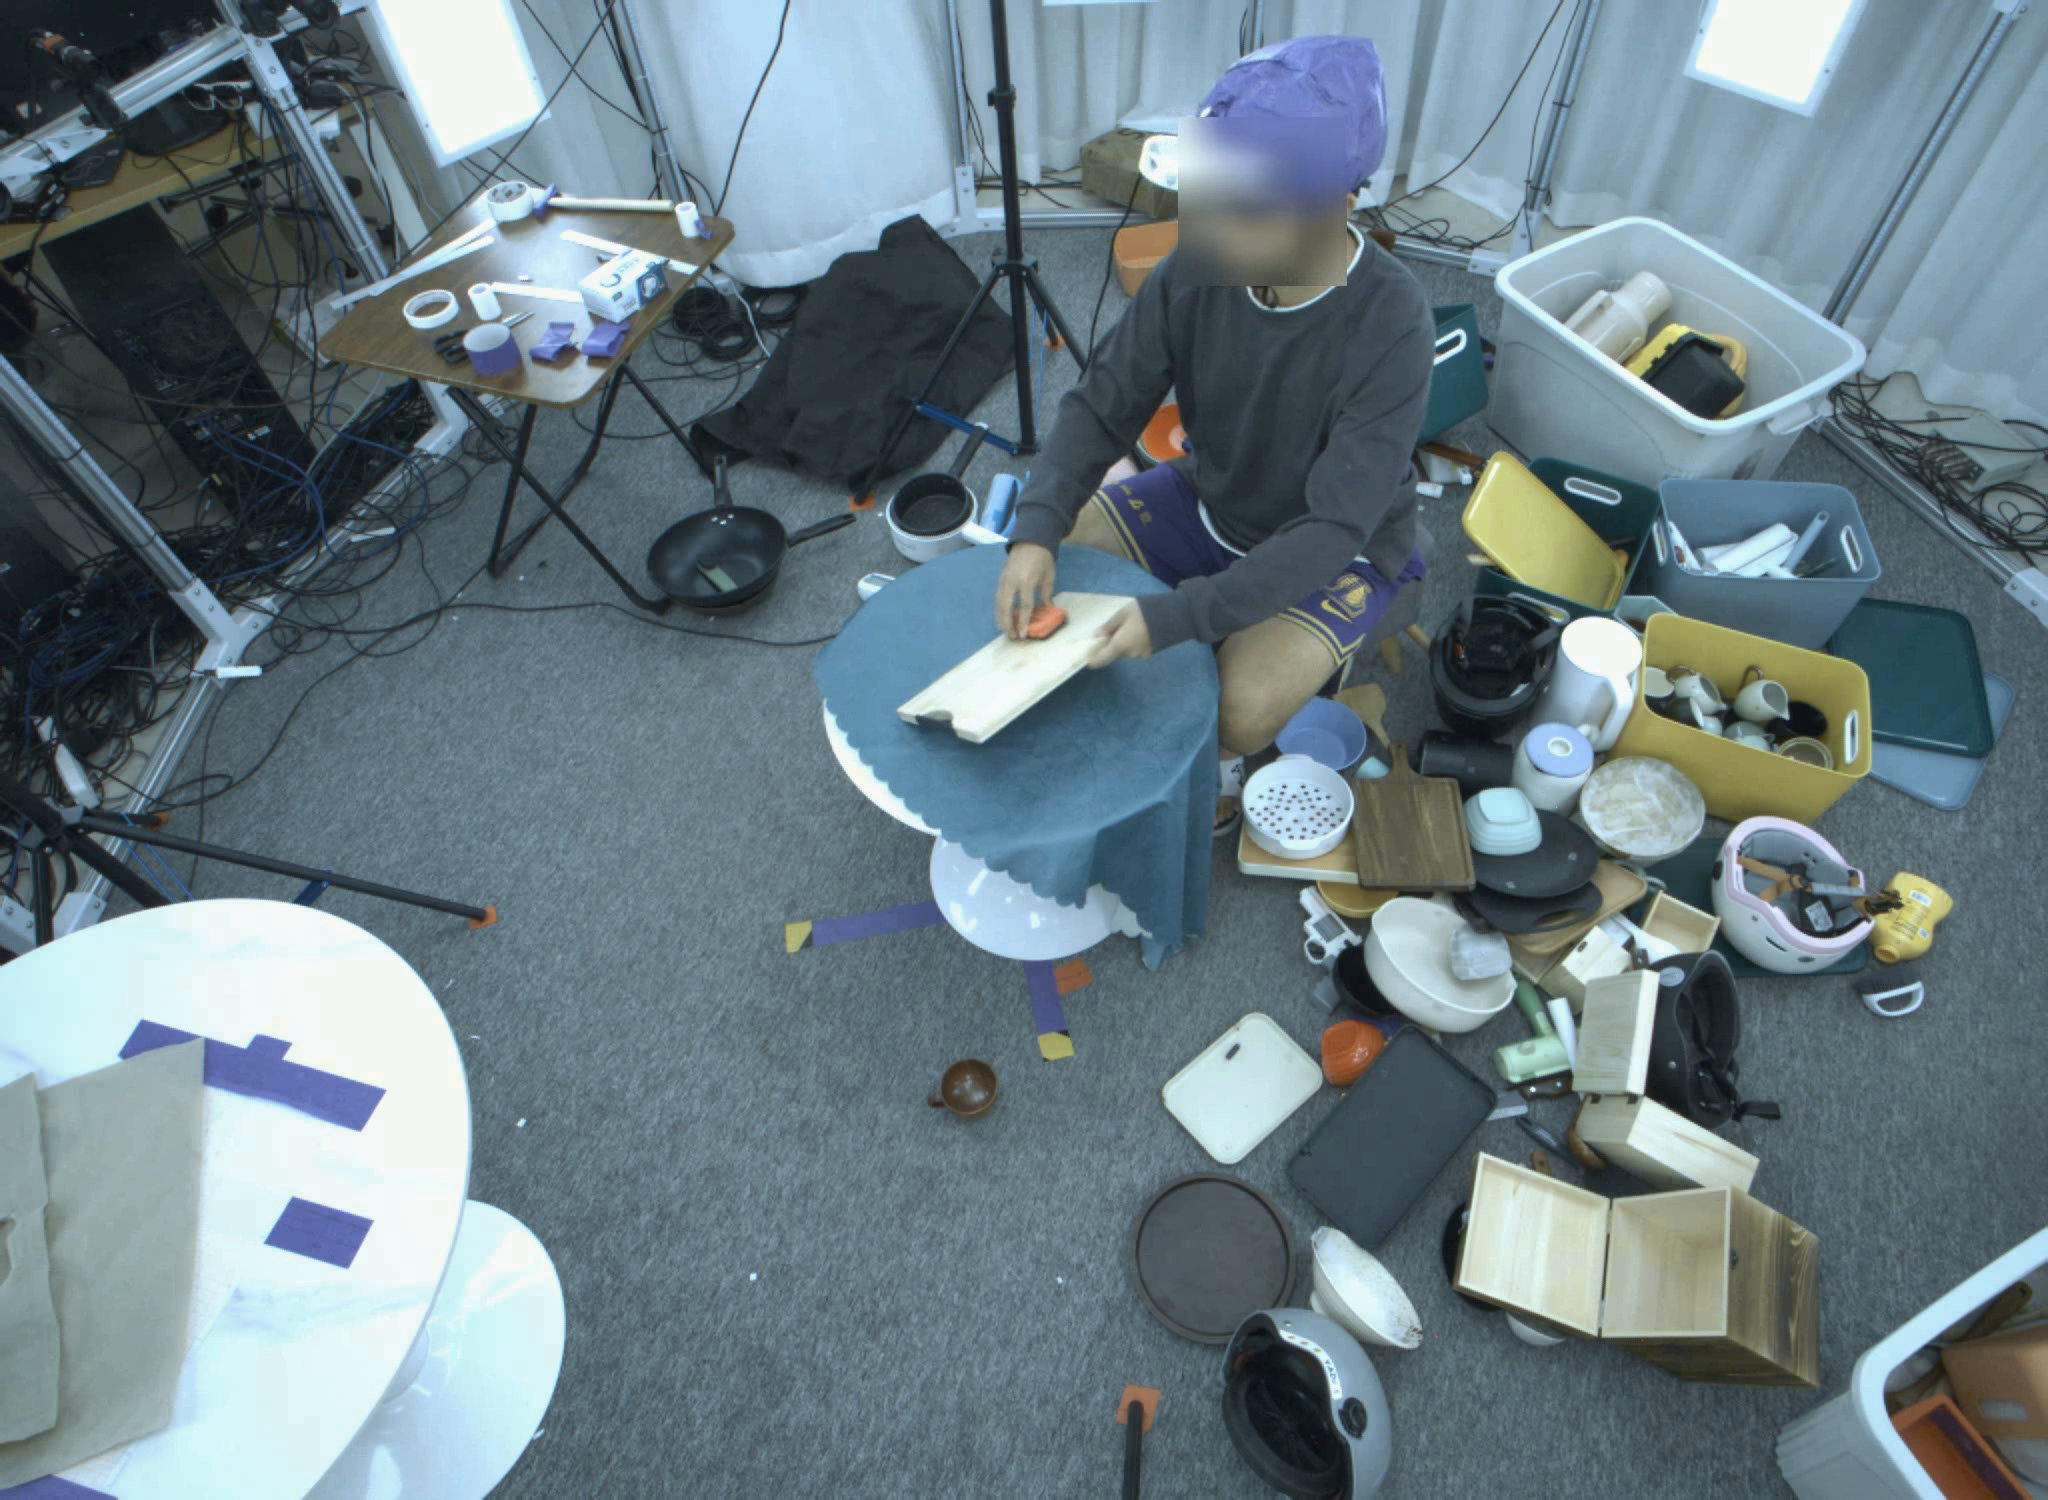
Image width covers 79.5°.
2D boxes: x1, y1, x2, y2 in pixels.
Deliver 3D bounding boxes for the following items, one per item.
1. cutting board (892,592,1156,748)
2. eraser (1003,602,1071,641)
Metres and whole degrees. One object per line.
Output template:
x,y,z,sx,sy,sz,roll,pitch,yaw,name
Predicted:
-0.002,-0.126,1.791,0.351,0.024,0.245,-38,27,-23,cutting board
0.019,-0.194,1.843,0.059,0.023,0.105,-43,32,-22,eraser
